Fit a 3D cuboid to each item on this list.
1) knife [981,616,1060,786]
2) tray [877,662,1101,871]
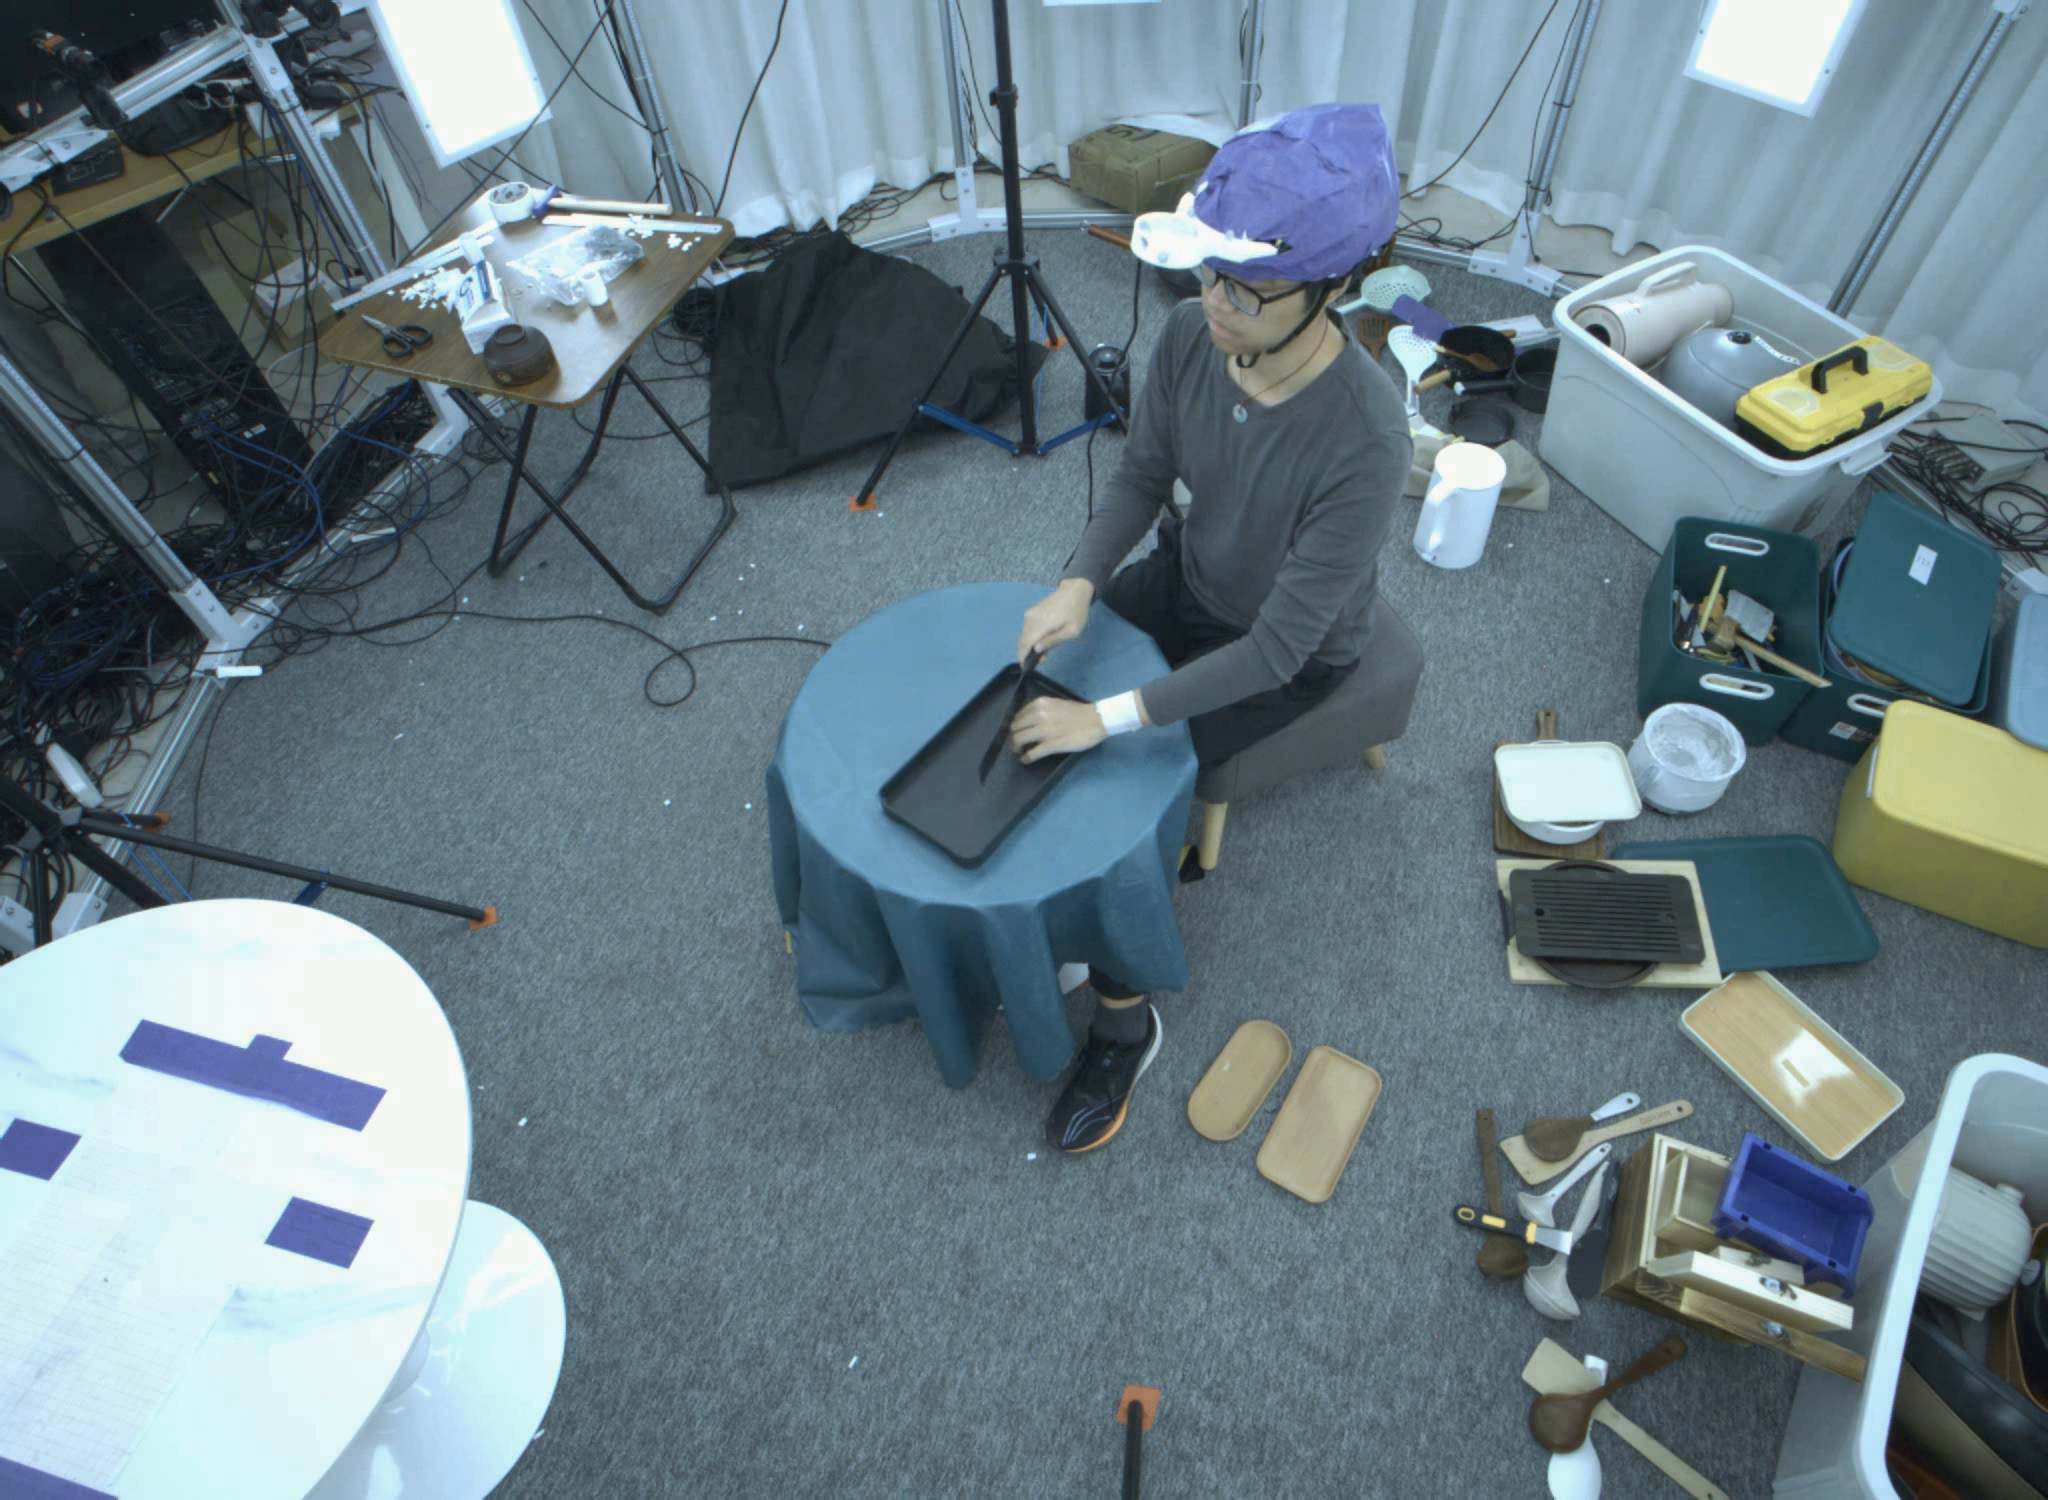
[{"bbox_3d":[-0.007,-0.078,1.763,0.020,0.081,0.302,17,59,11],"label":"knife"},{"bbox_3d":[-0.047,0.017,1.761,0.181,0.037,0.319,30,61,21],"label":"tray"}]
